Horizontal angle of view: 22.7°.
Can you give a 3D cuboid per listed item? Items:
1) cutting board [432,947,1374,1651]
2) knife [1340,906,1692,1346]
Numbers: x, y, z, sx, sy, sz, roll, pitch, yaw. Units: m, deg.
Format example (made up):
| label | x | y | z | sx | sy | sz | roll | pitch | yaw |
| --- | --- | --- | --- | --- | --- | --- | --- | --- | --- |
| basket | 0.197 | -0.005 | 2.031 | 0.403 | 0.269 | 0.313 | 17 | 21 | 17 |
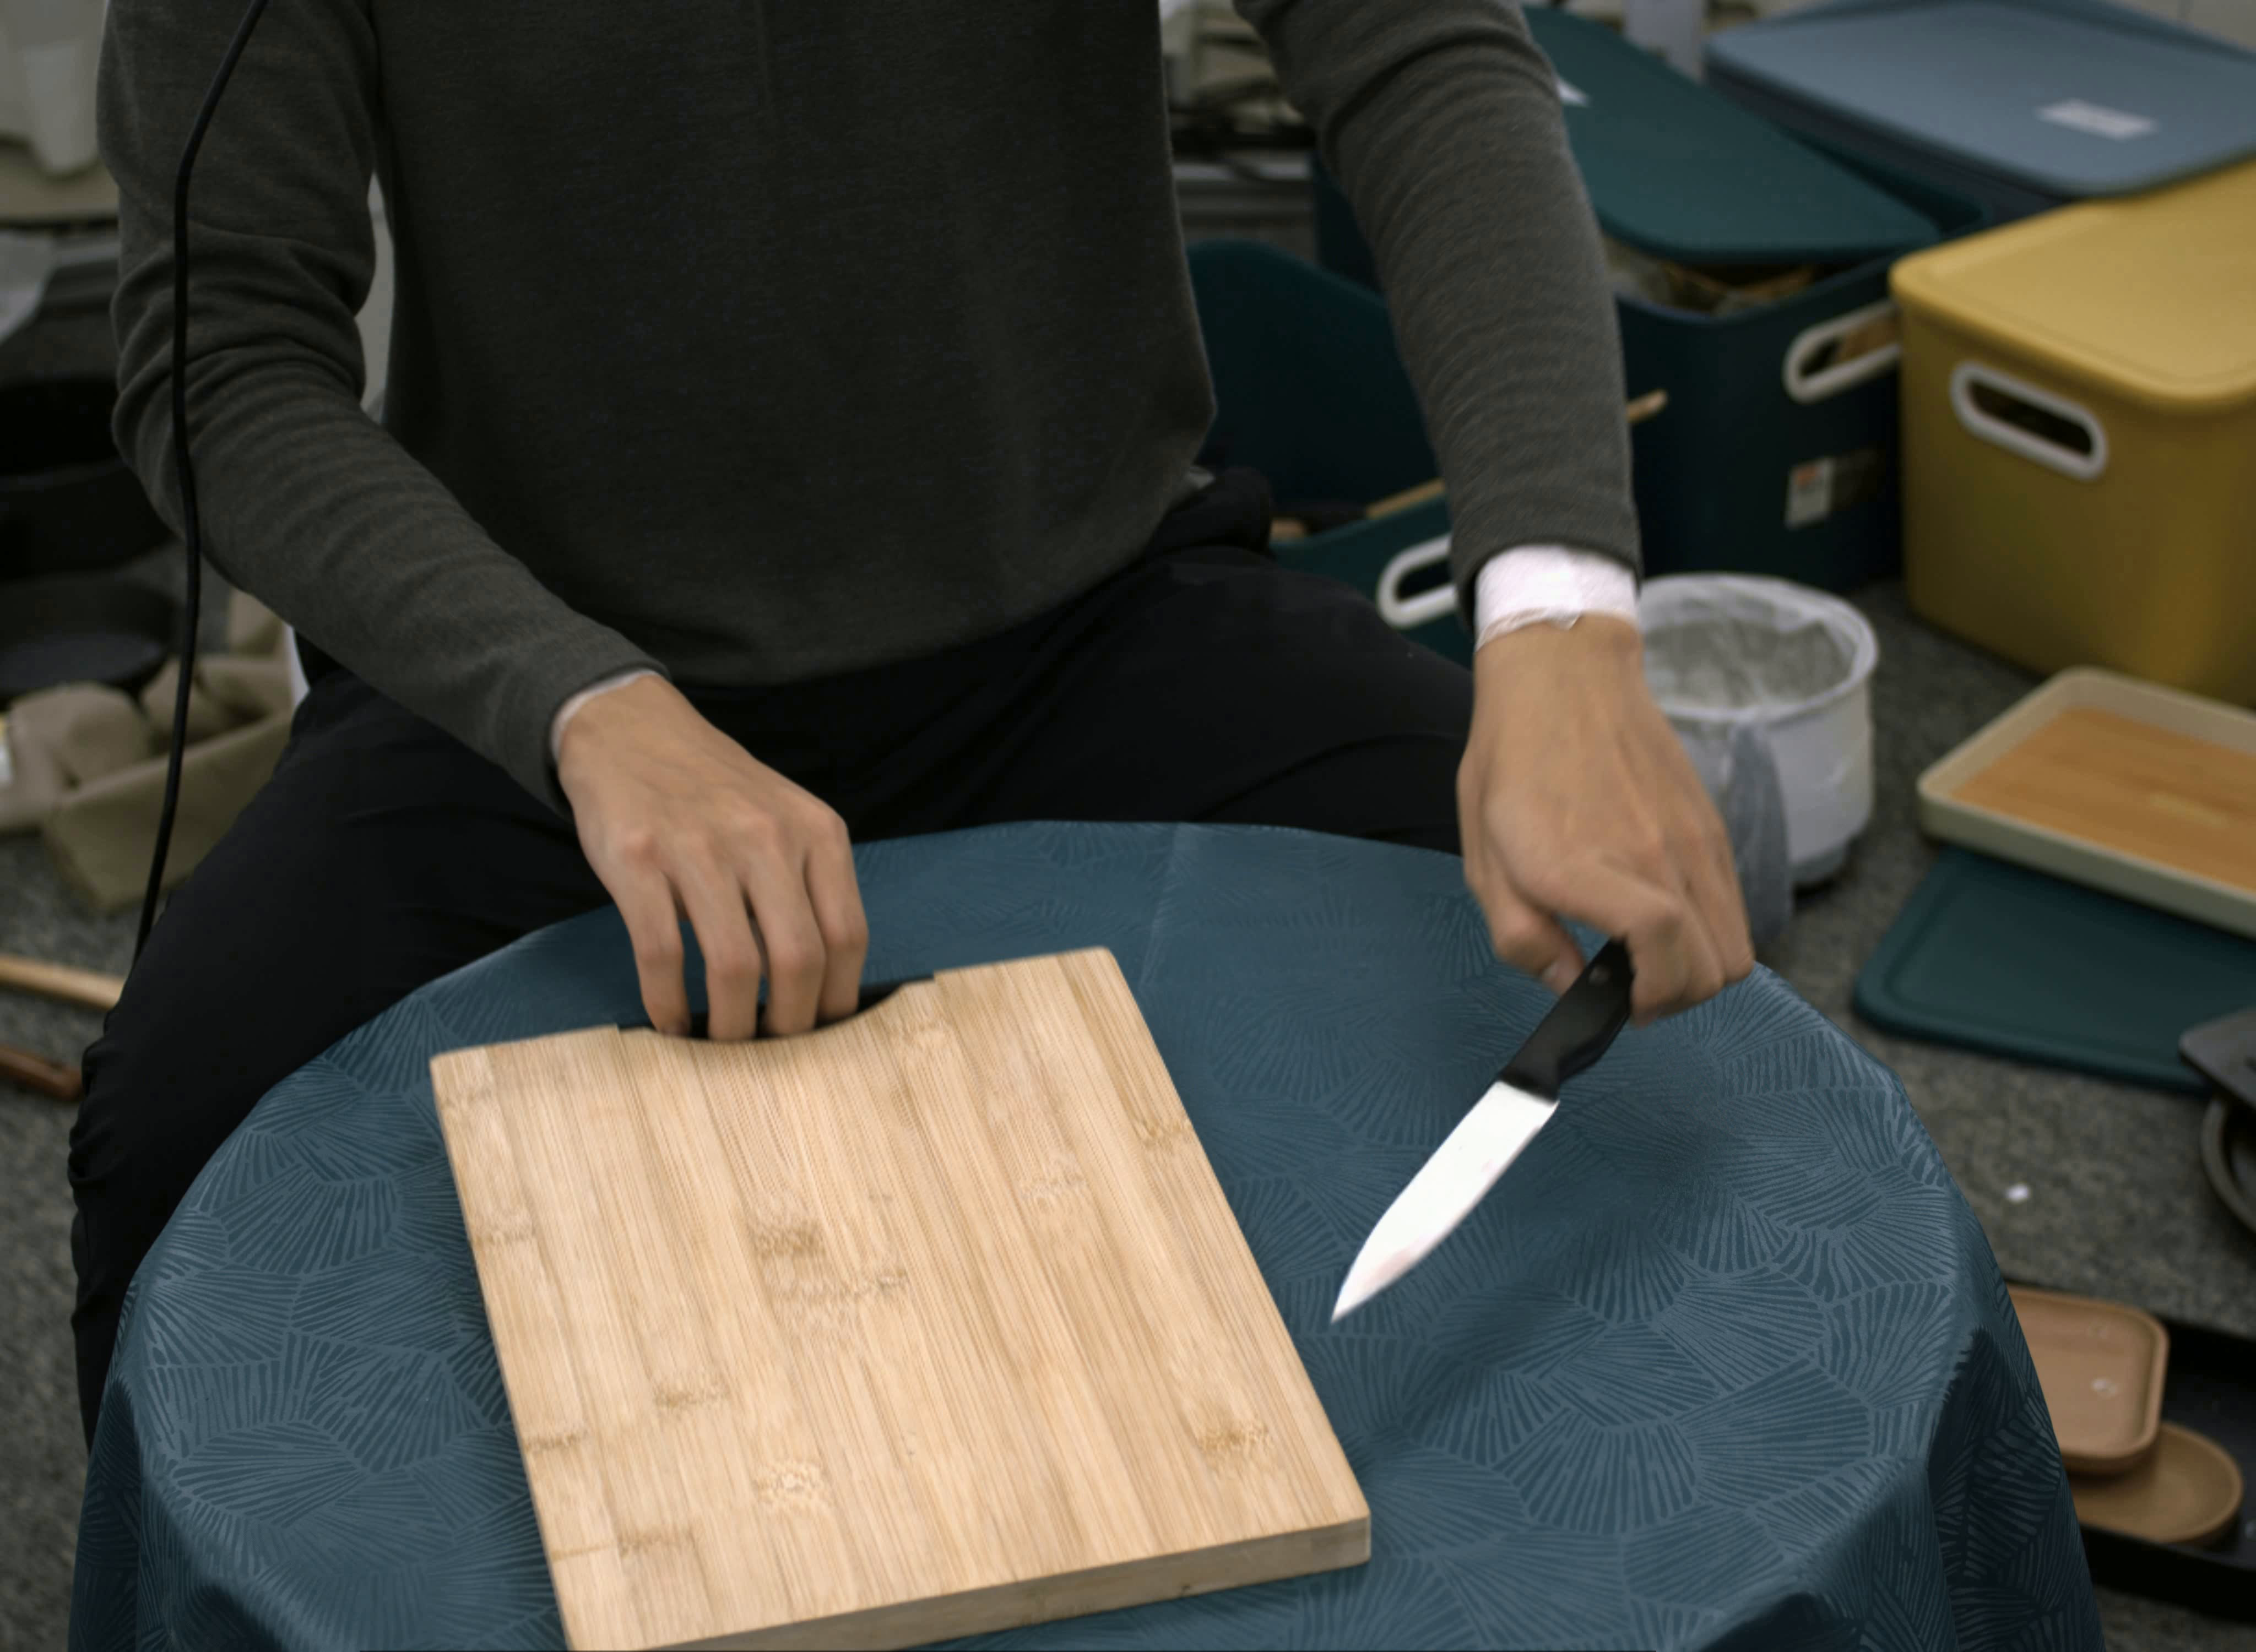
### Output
| label | x | y | z | sx | sy | sz | roll | pitch | yaw |
| --- | --- | --- | --- | --- | --- | --- | --- | --- | --- |
| cutting board | -0.082 | 0.148 | 1.790 | 0.250 | 0.023 | 0.352 | -8 | 30 | -12 |
| knife | 0.121 | 0.093 | 1.788 | 0.024 | 0.016 | 0.242 | 19 | 41 | 22 |
